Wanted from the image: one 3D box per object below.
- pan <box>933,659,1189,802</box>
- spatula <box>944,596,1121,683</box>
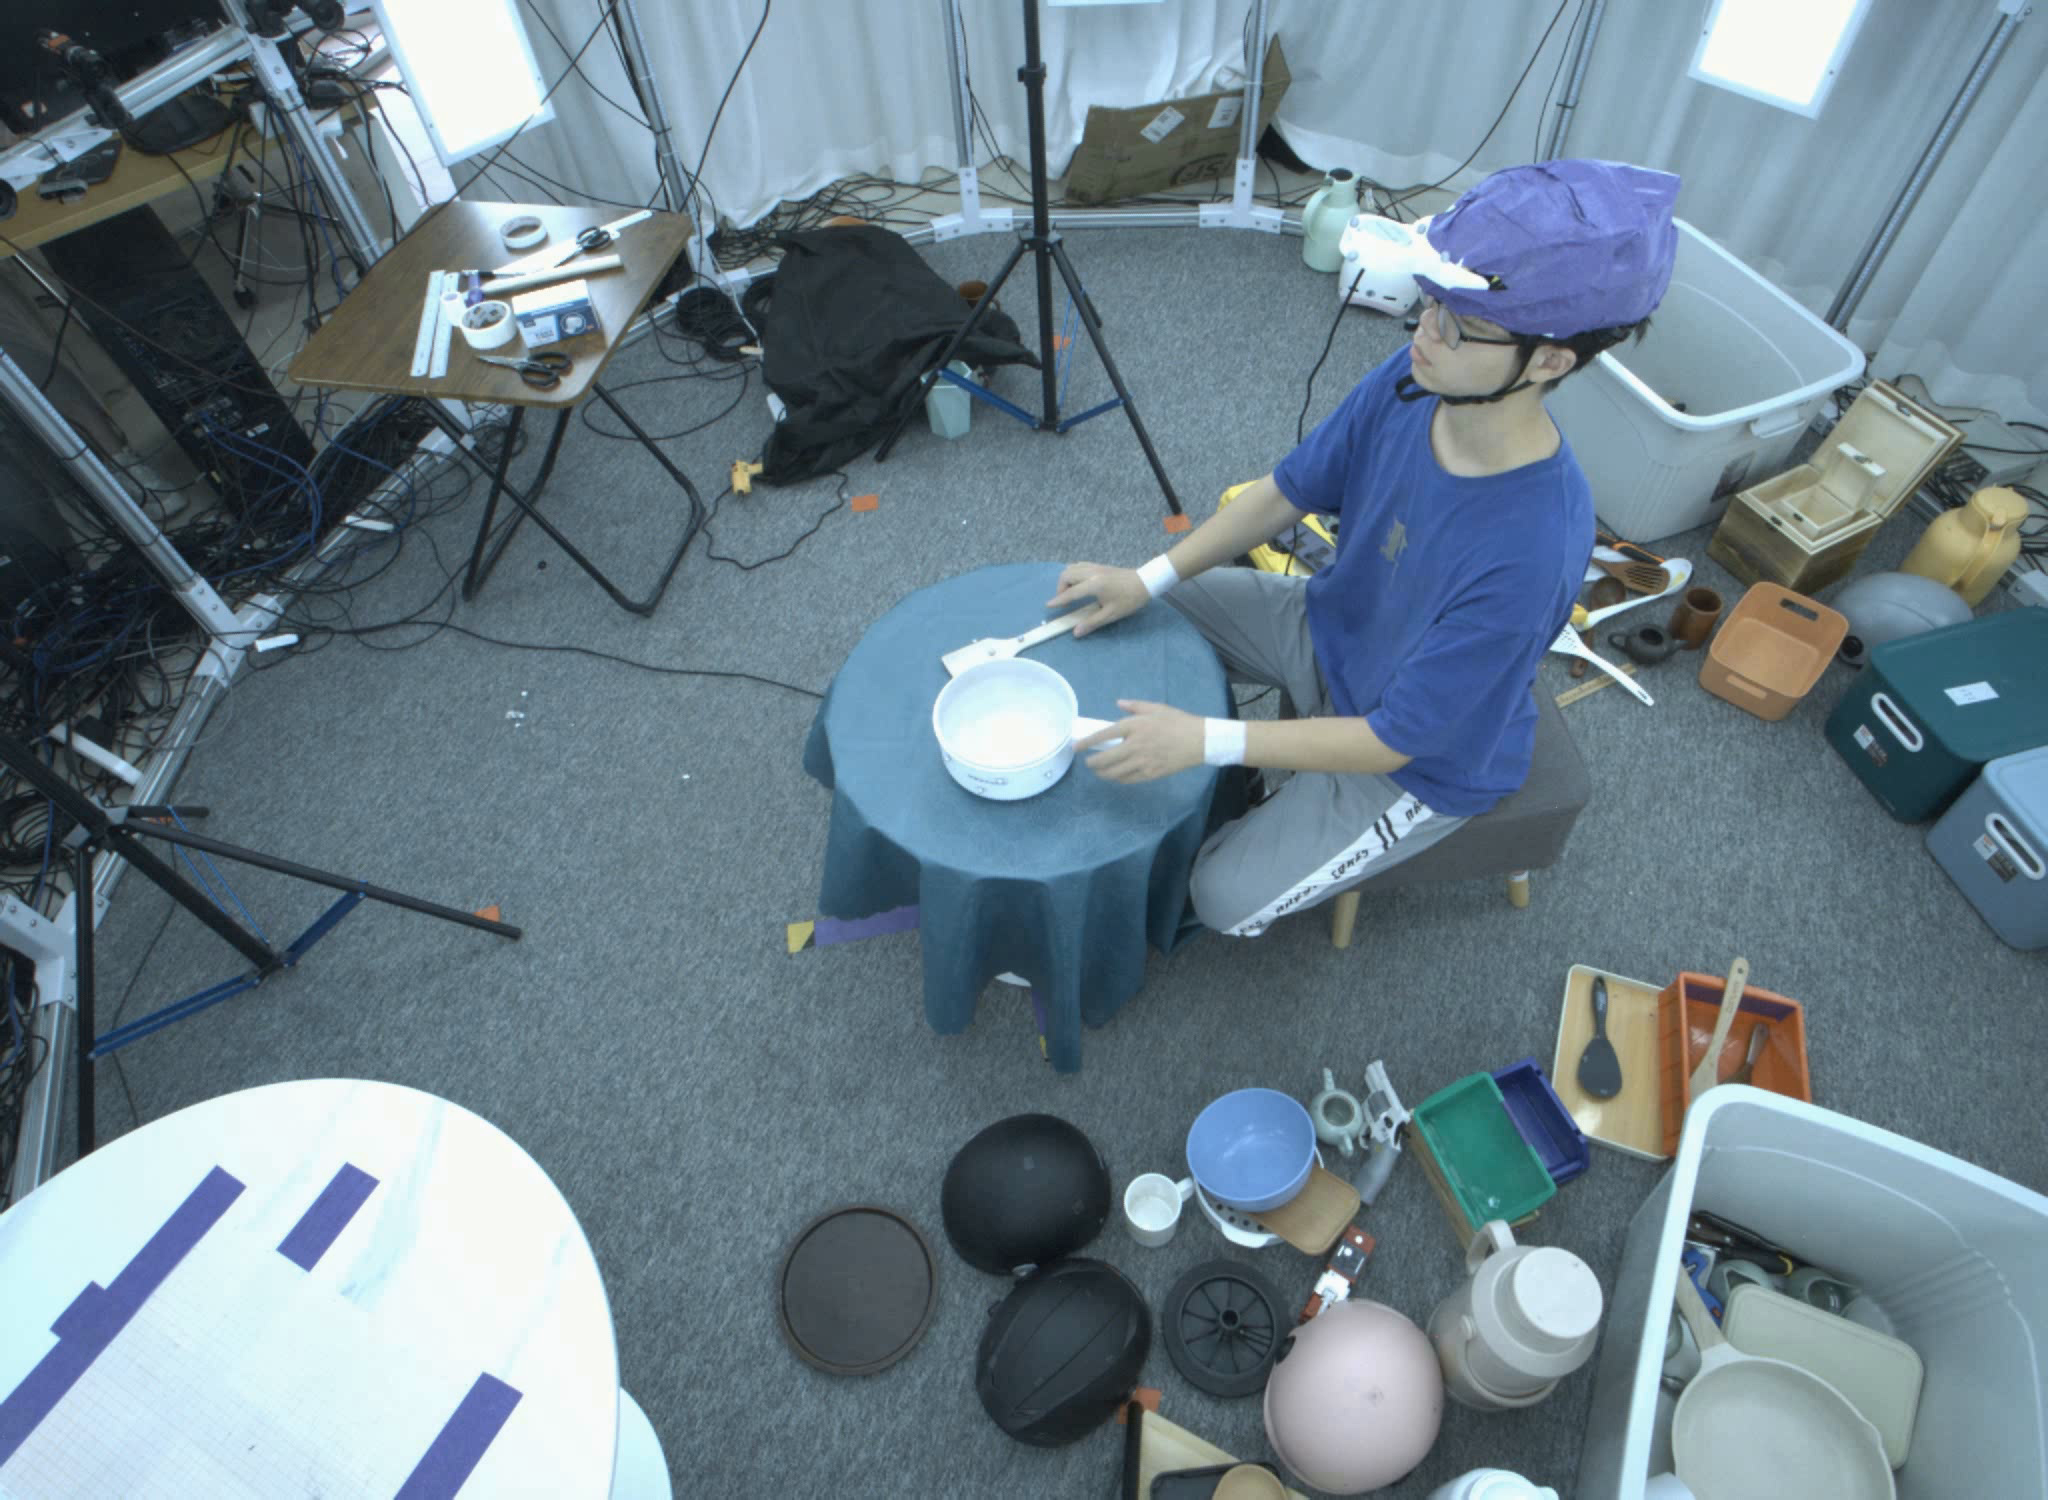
[{"bbox_3d":[0.052,-0.011,1.724,0.352,0.103,0.200,9,53,9],"label":"pan"},{"bbox_3d":[0.019,-0.176,1.898,0.295,0.011,0.071,-25,57,-15],"label":"spatula"}]
